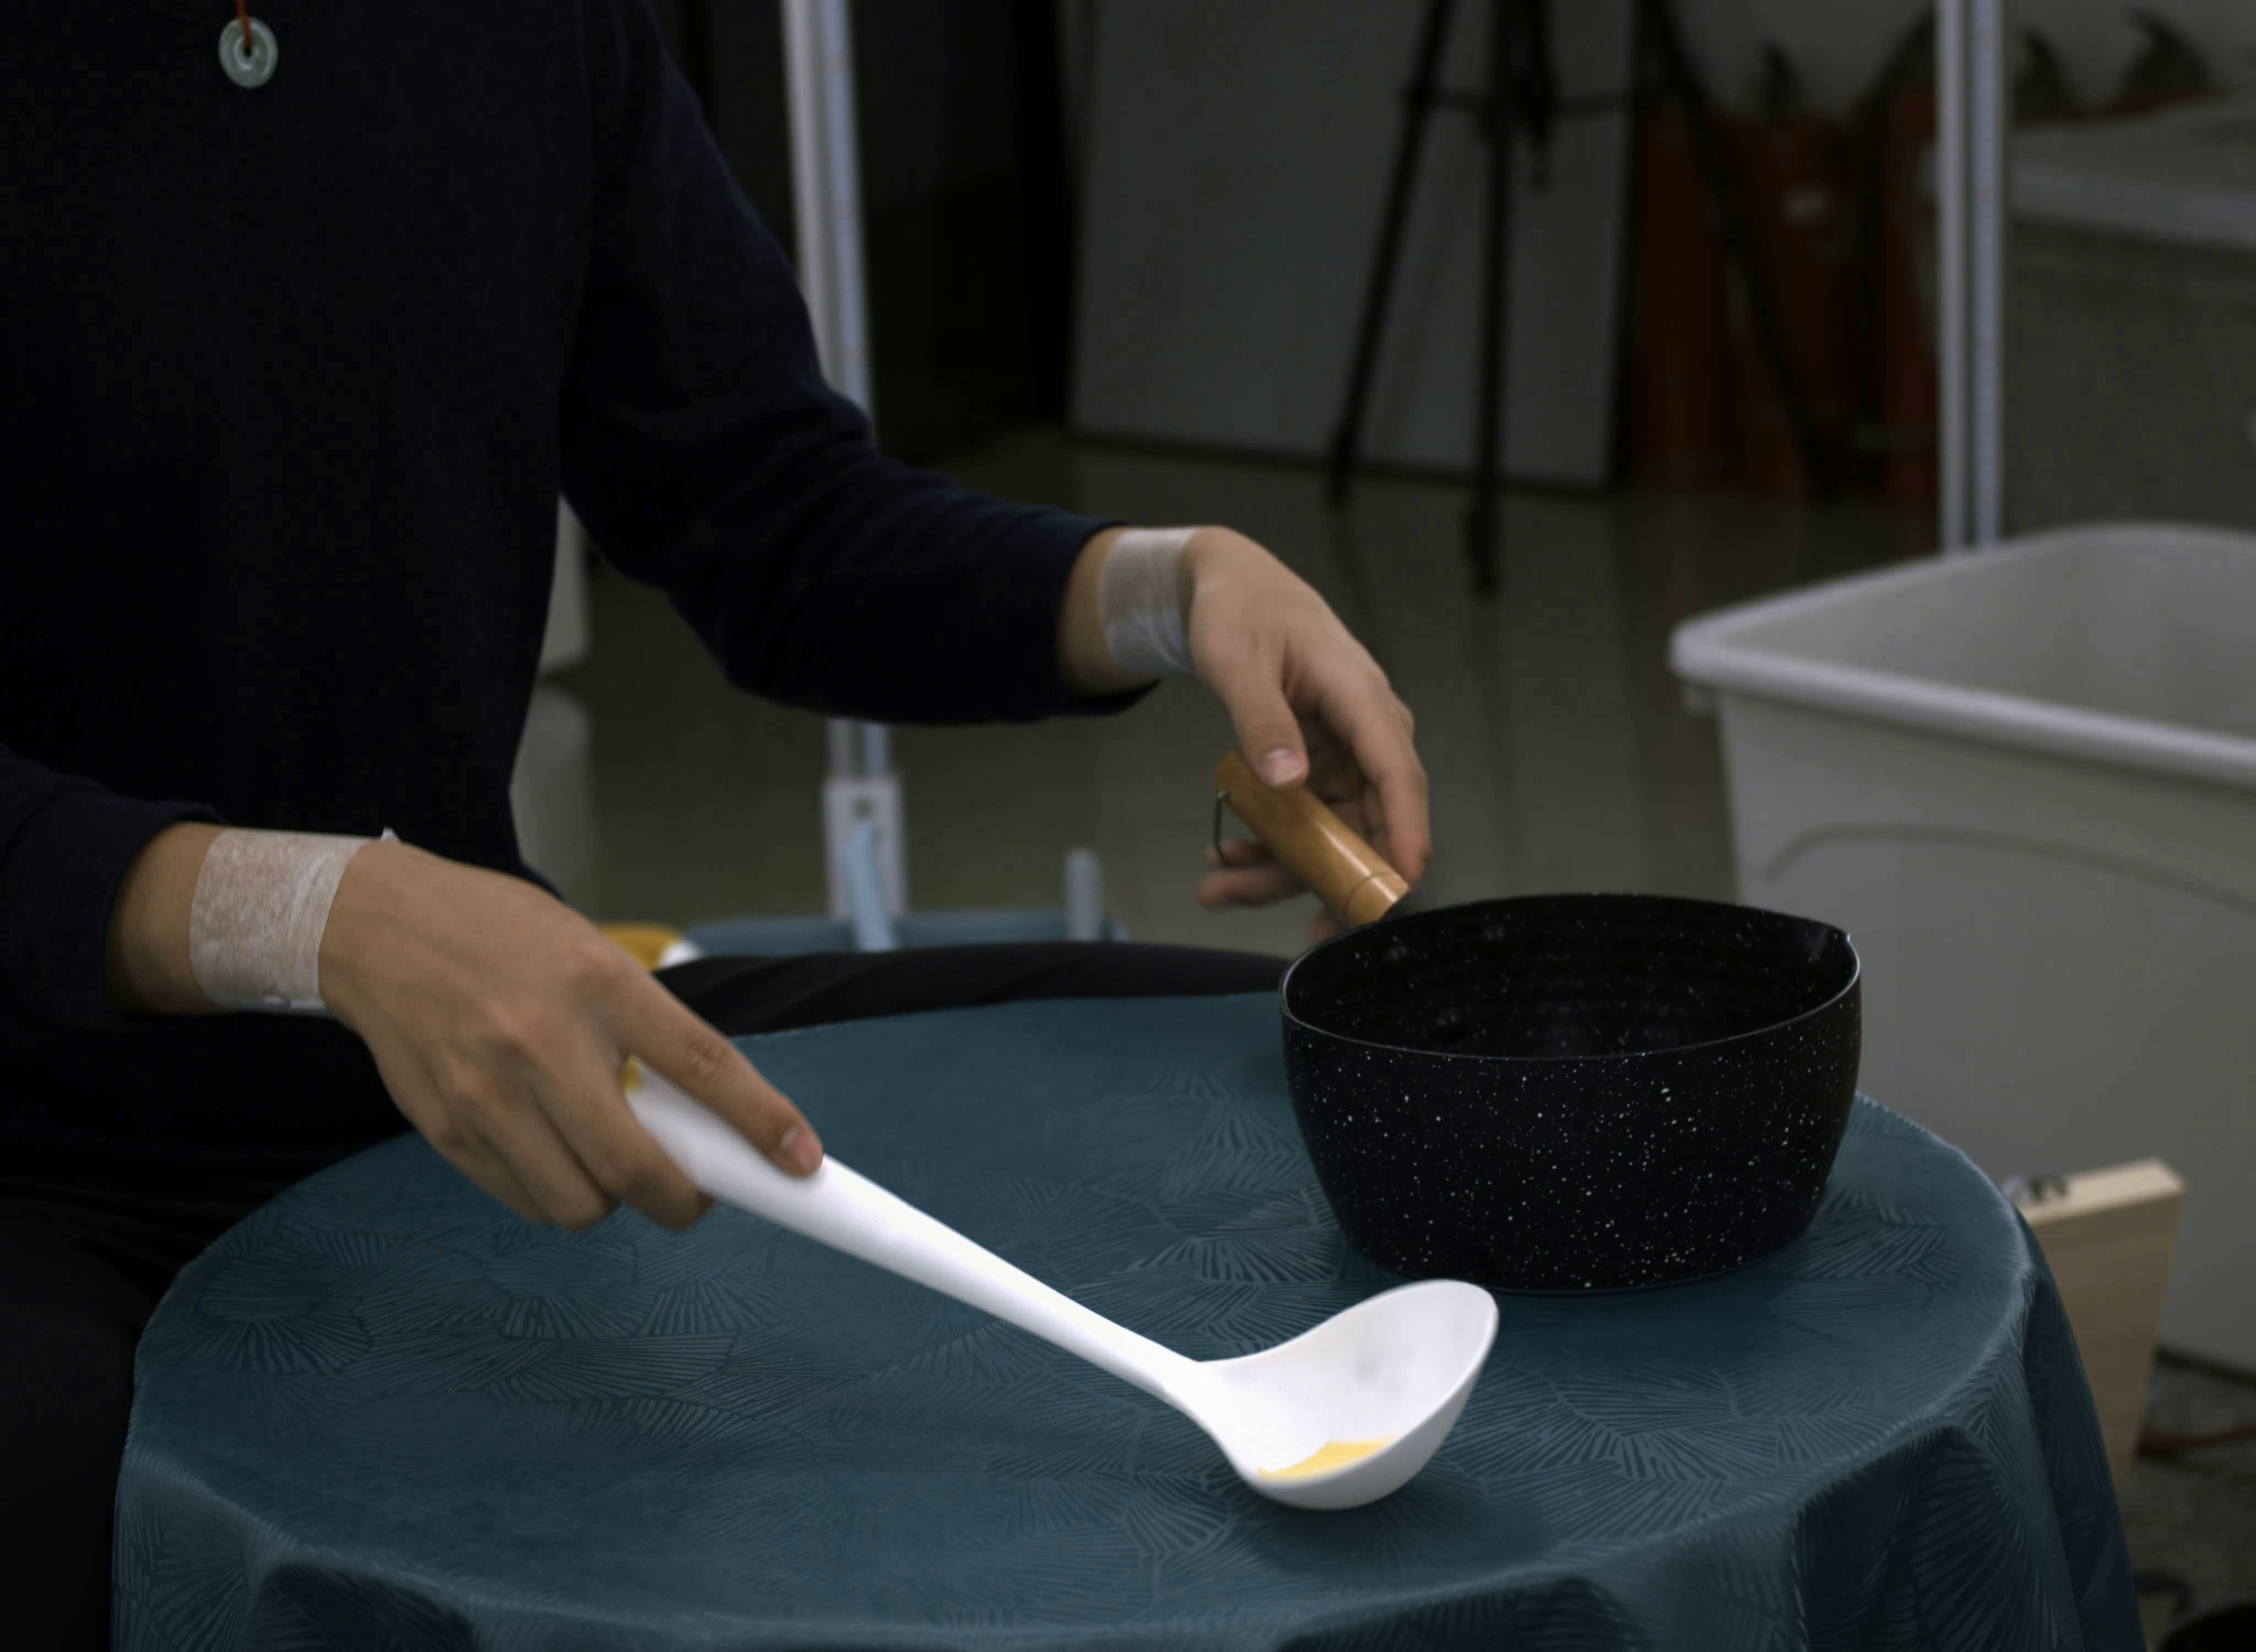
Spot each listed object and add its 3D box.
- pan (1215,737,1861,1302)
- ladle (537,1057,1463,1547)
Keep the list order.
[{"bbox_3d":[0.107,0.057,1.769,0.203,0.109,0.346,-11,17,-22],"label":"pan"},{"bbox_3d":[-0.041,0.123,1.516,0.293,0.070,0.090,23,59,21],"label":"ladle"}]
